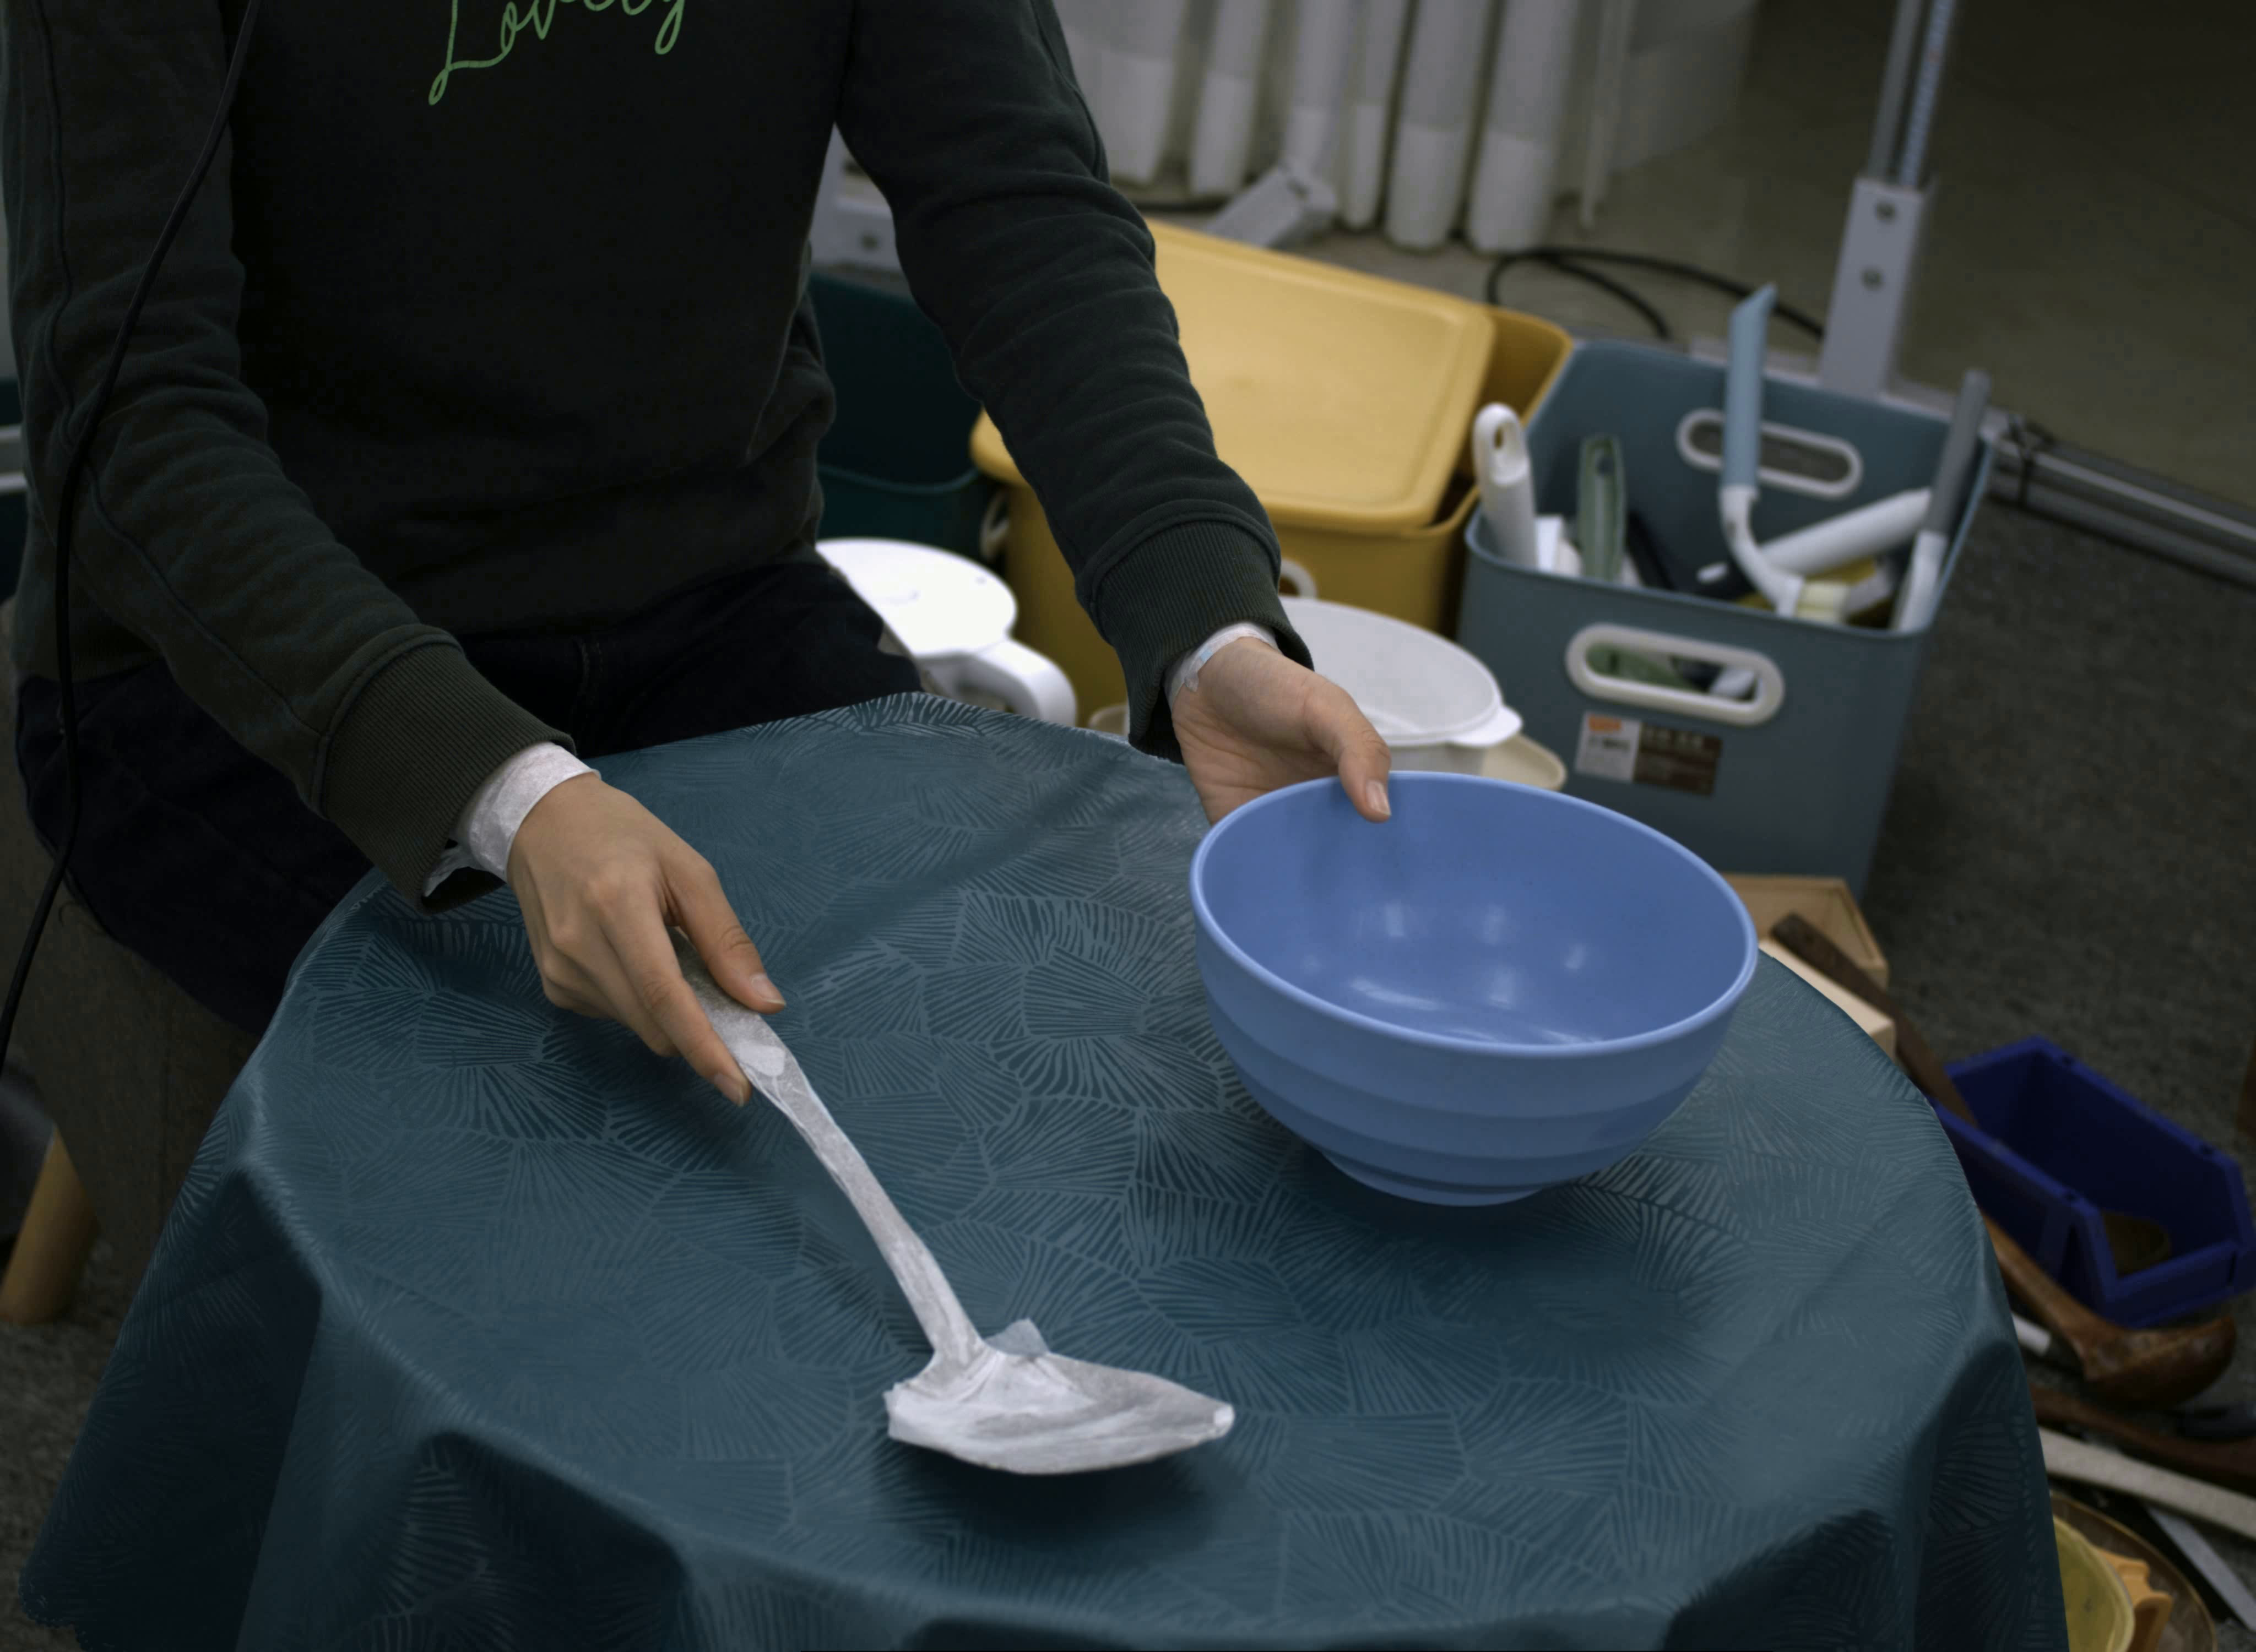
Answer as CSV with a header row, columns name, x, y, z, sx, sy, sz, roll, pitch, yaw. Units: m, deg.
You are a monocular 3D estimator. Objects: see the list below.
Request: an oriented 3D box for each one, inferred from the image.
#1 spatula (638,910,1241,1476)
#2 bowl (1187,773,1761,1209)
name,x,y,z,sx,sy,sz,roll,pitch,yaw
spatula,-0.086,0.111,1.740,0.098,0.044,0.368,-8,36,-28
bowl,0.114,0.068,1.832,0.196,0.095,0.198,4,28,-3
